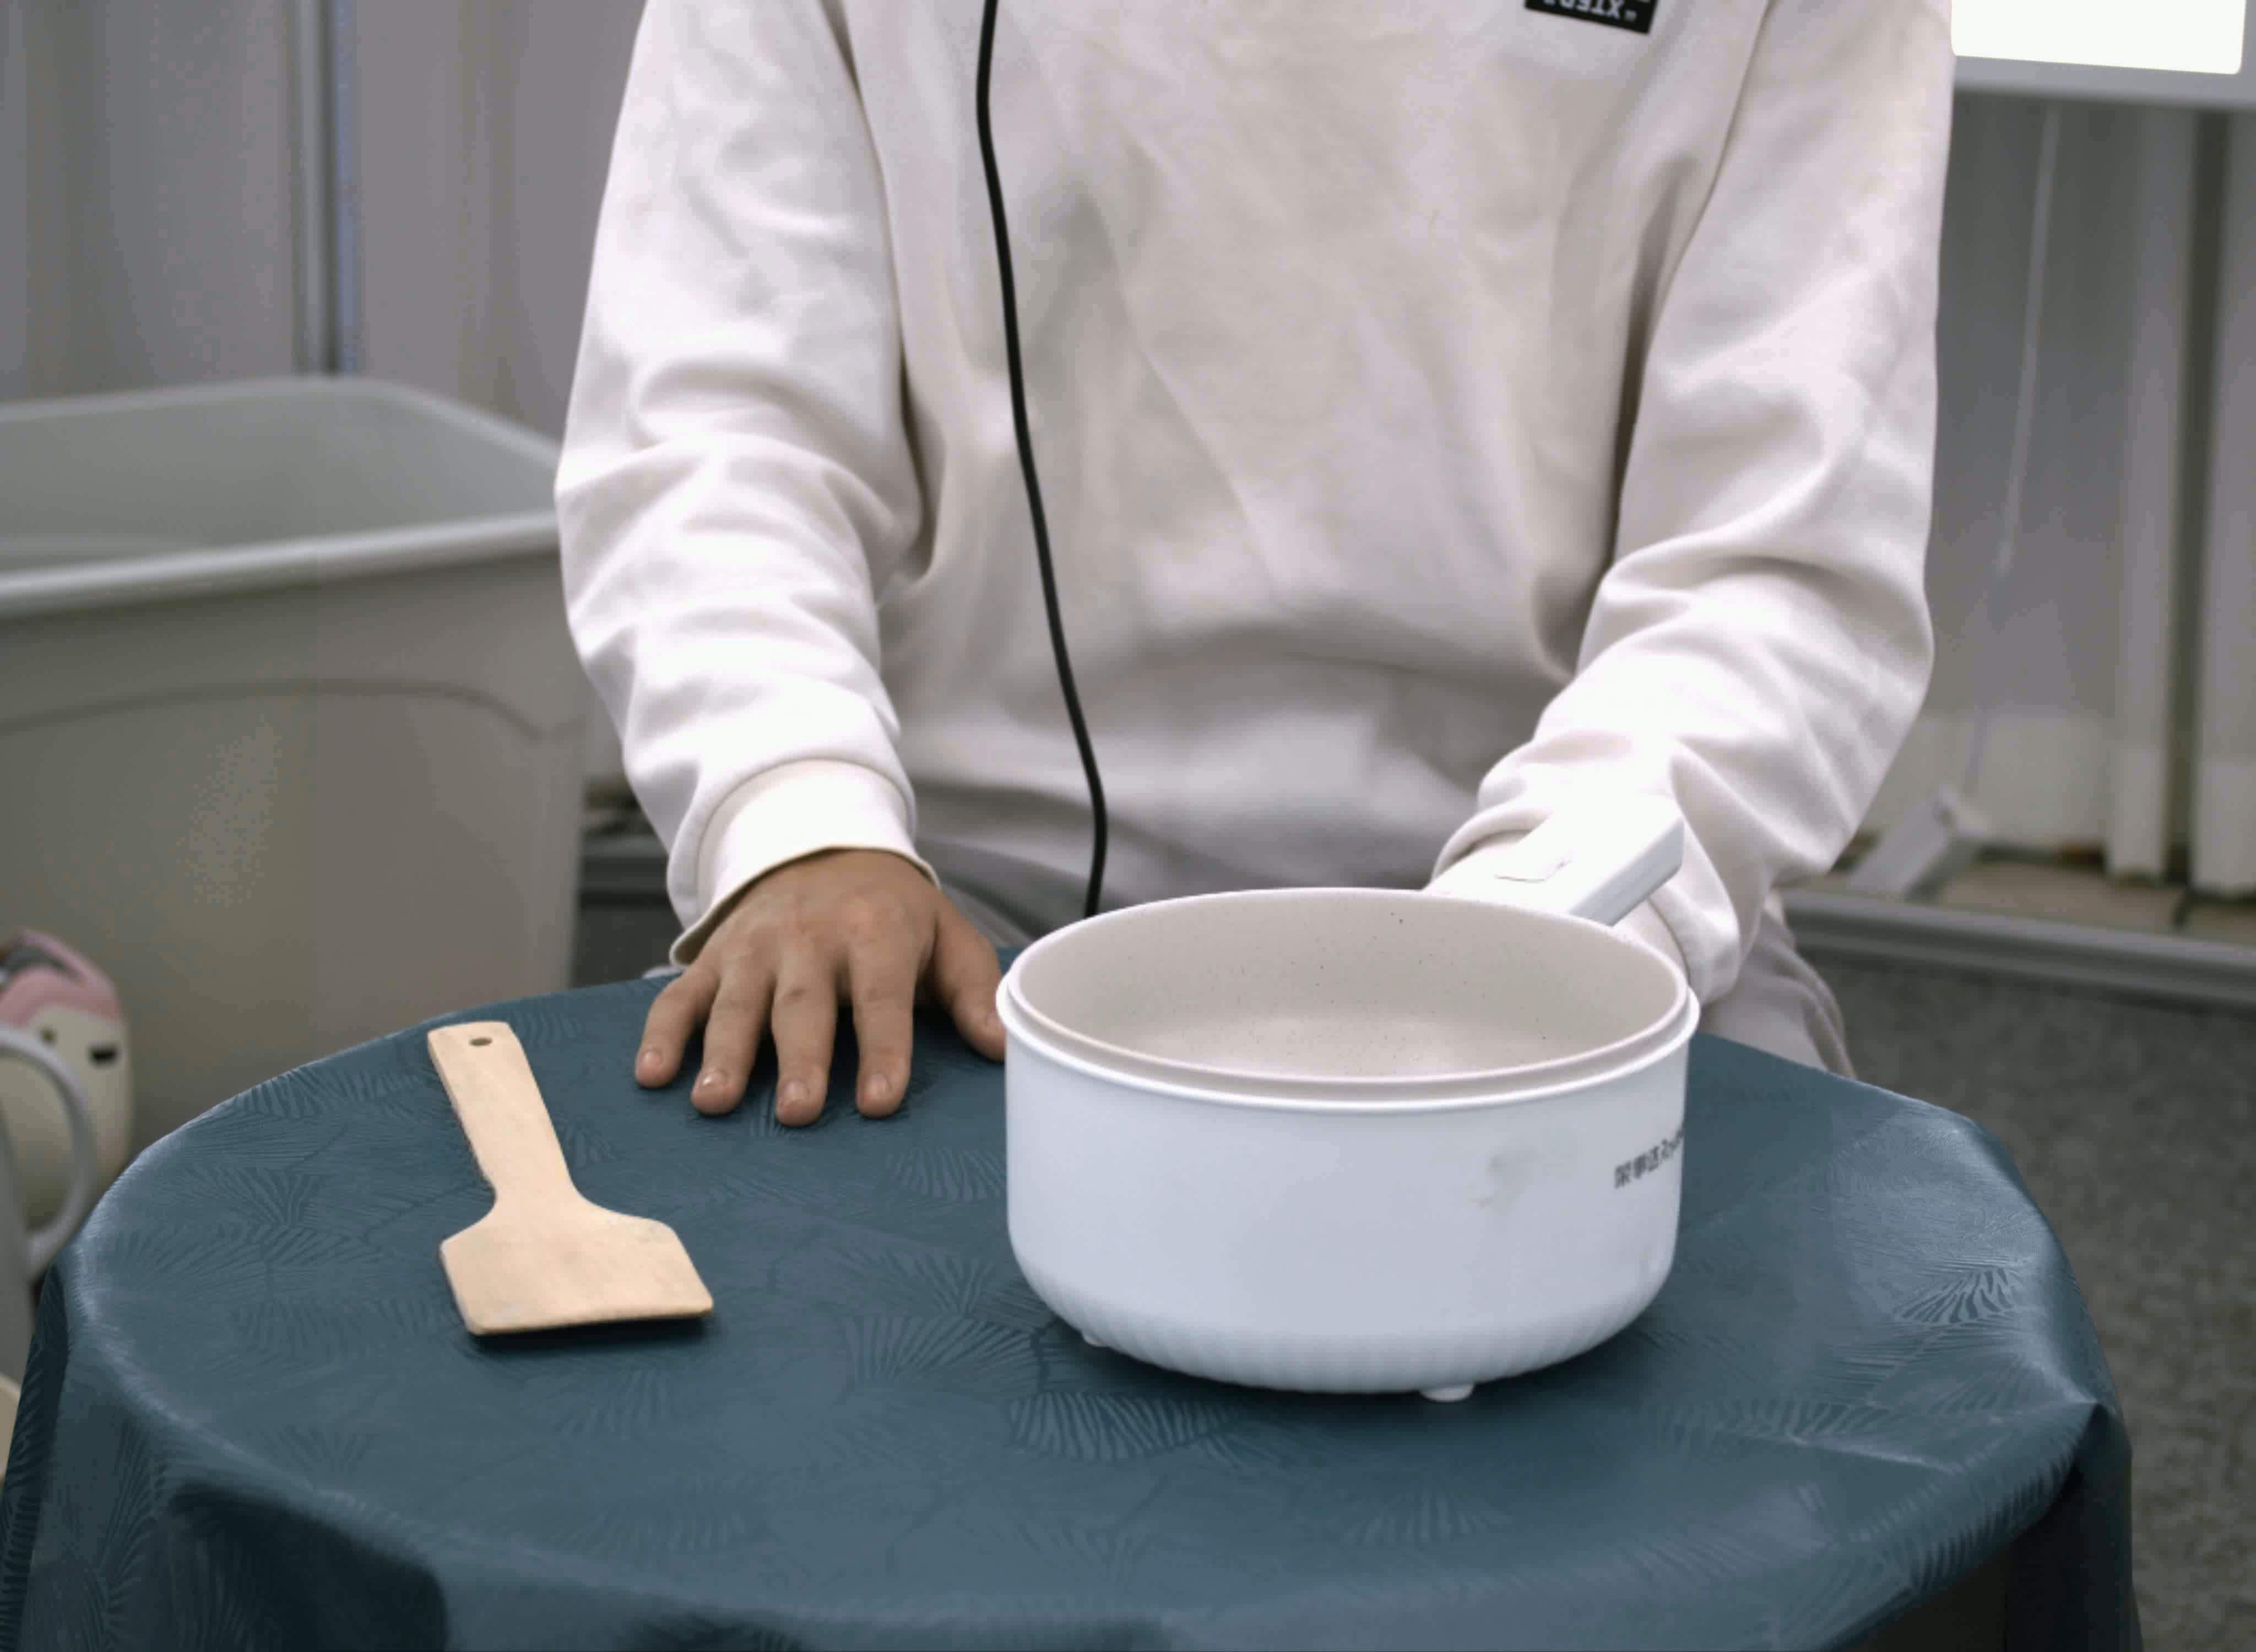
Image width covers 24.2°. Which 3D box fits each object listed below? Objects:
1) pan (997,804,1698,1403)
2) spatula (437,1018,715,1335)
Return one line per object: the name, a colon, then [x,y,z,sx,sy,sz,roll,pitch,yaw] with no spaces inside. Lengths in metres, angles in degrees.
pan: [0.093,0.077,1.586,0.199,0.103,0.355,6,15,22]
spatula: [-0.186,0.105,1.629,0.072,0.011,0.290,-4,16,-13]
